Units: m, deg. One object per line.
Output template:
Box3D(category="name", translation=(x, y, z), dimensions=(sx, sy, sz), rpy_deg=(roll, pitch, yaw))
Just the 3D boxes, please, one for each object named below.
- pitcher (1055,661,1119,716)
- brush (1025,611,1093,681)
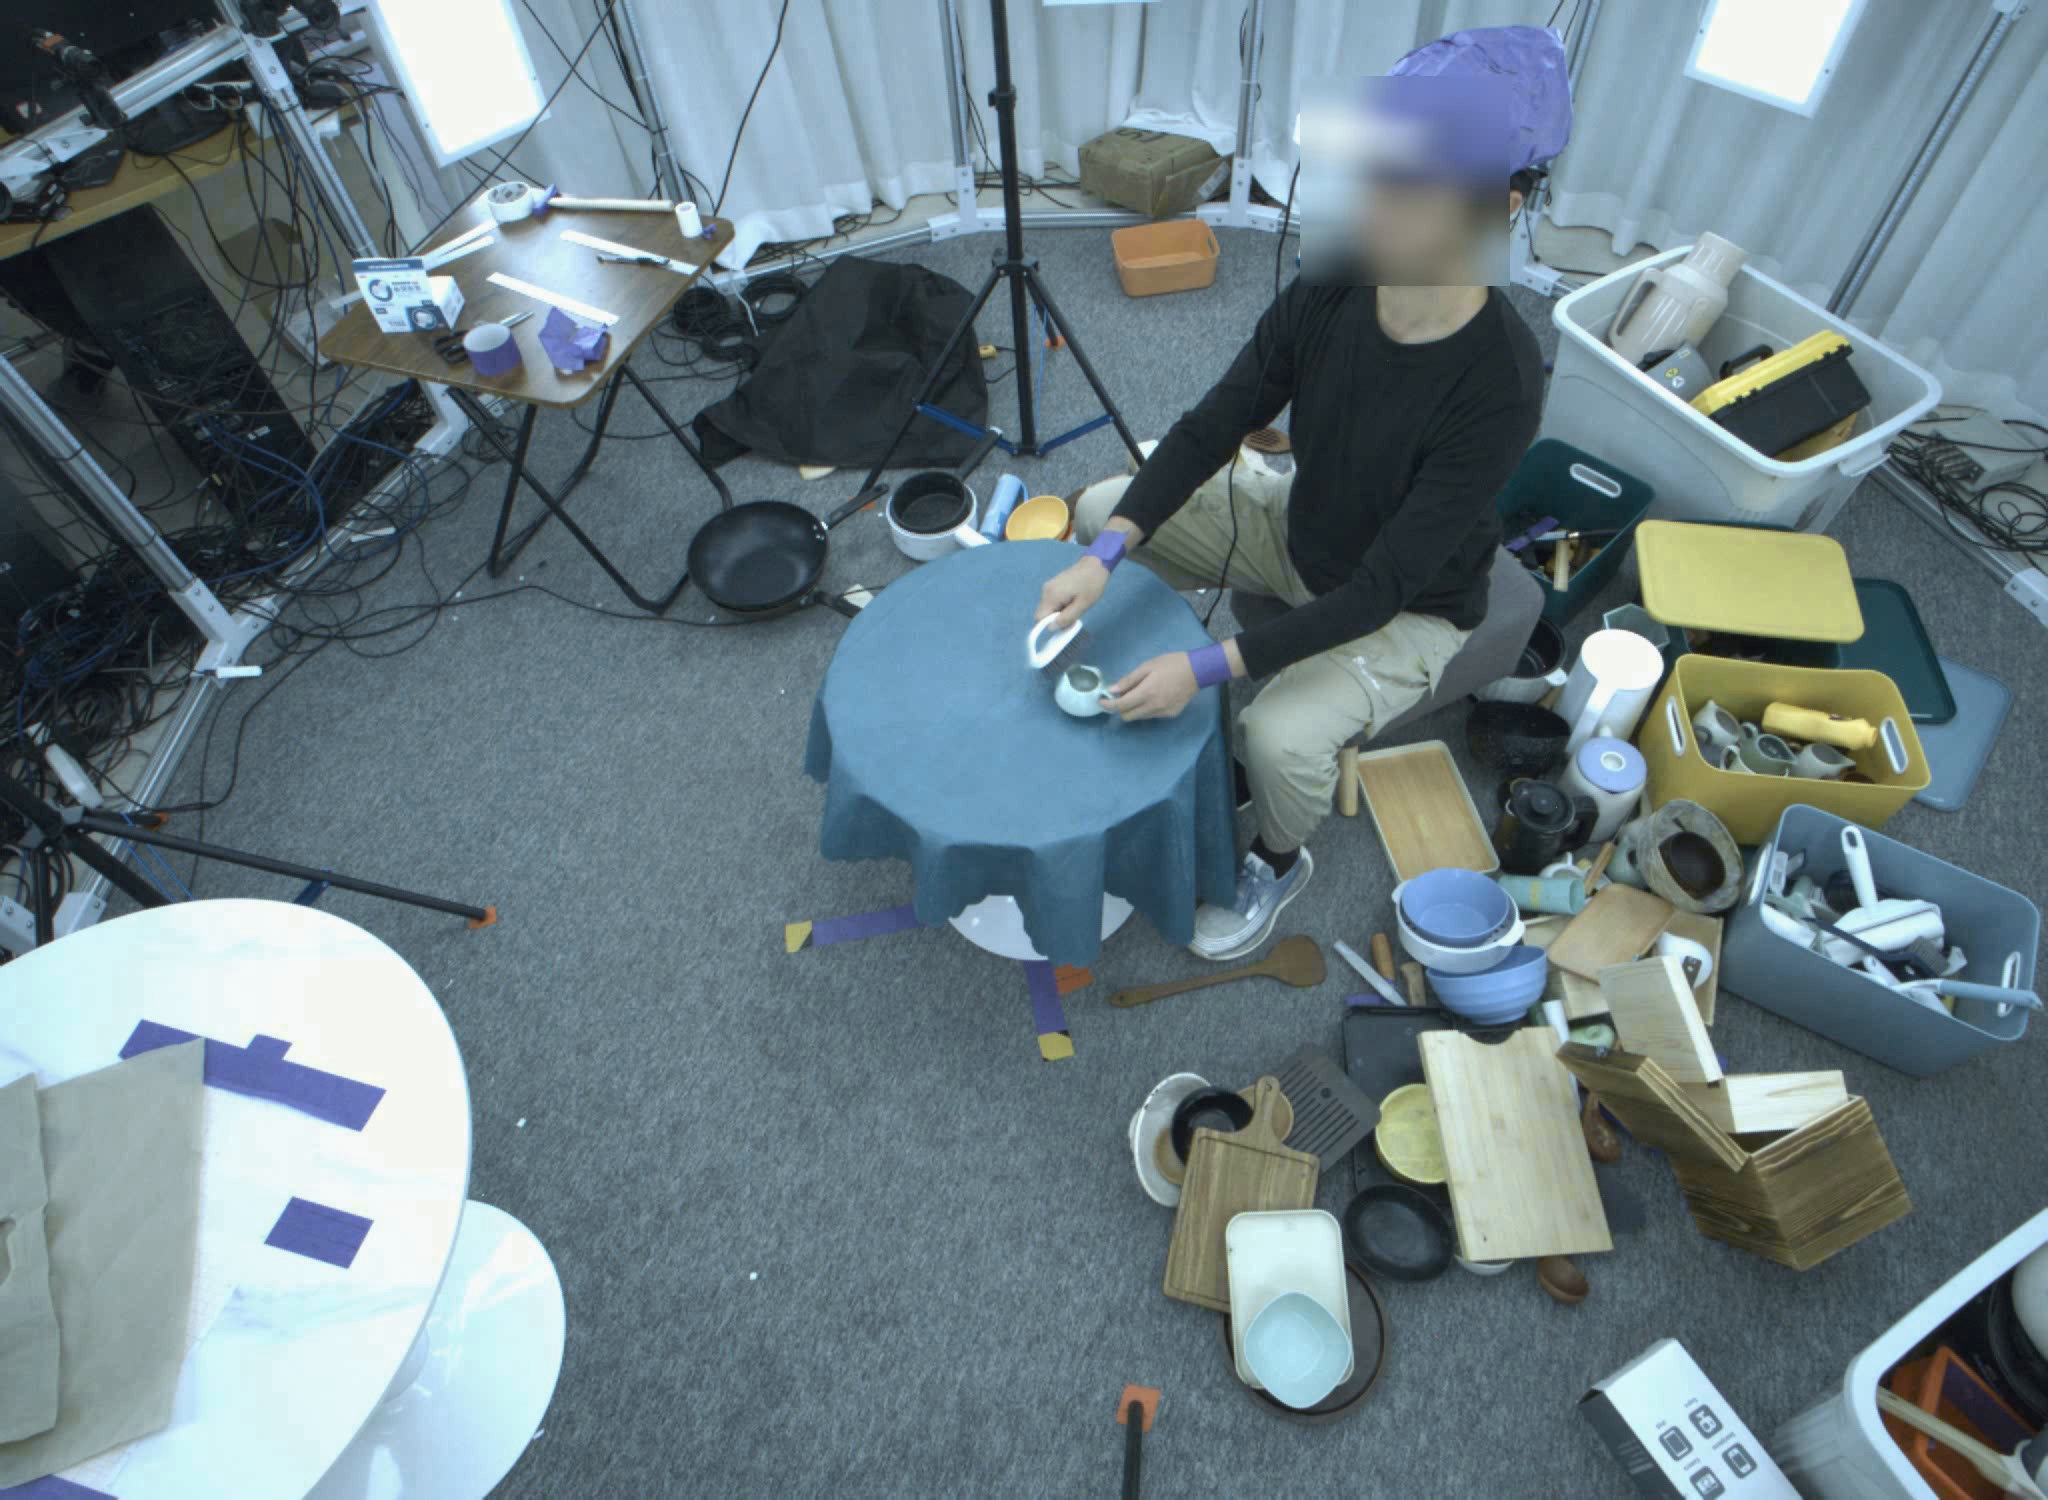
Box3D(category="pitcher", translation=(0.097, -0.085, 1.813), dimensions=(0.106, 0.061, 0.086), rpy_deg=(37, 65, 20))
Box3D(category="brush", translation=(0.044, -0.161, 1.814), dimensions=(0.099, 0.073, 0.049), rpy_deg=(-47, 21, -11))
